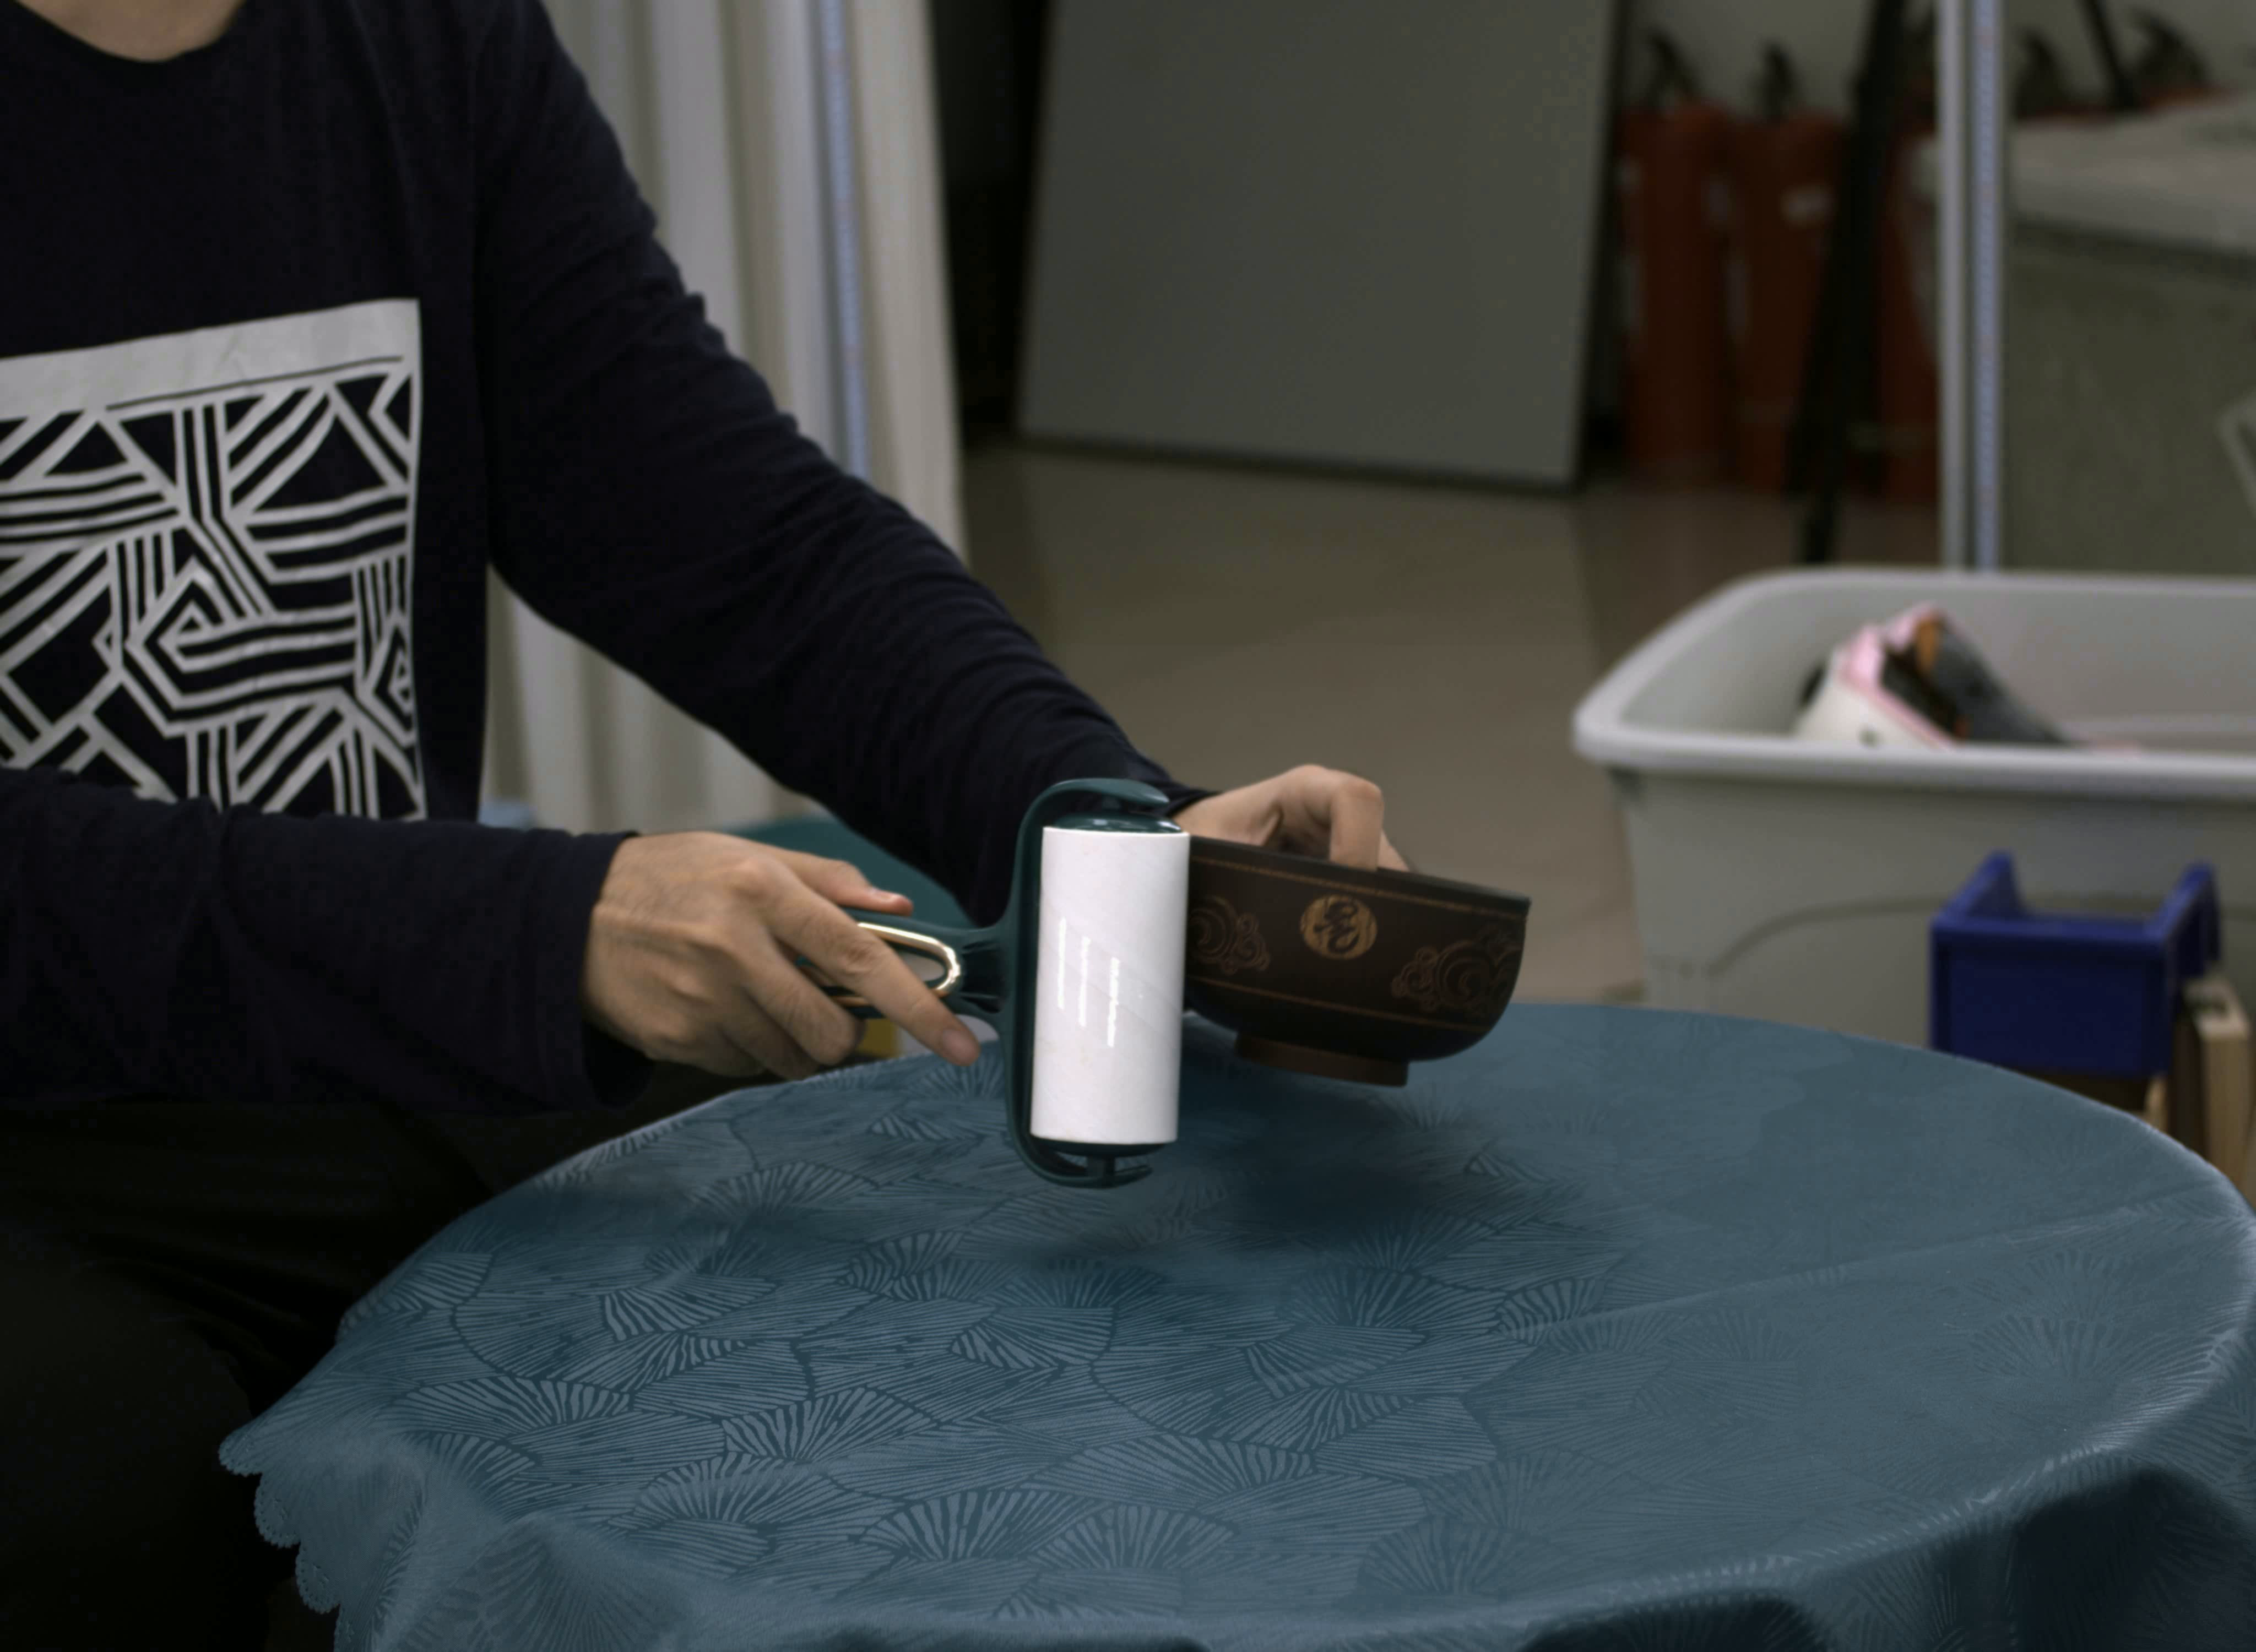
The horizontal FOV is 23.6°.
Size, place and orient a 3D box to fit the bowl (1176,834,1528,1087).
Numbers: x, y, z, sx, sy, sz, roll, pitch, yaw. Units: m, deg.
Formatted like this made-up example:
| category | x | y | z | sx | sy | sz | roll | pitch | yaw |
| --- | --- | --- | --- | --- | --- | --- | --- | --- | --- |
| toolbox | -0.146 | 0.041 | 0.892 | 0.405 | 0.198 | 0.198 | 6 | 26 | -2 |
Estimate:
| category | x | y | z | sx | sy | sz | roll | pitch | yaw |
| --- | --- | --- | --- | --- | --- | --- | --- | --- | --- |
| bowl | 0.068 | 0.045 | 1.738 | 0.116 | 0.071 | 0.118 | 8 | 1 | -1 |

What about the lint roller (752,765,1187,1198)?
| category | x | y | z | sx | sy | sz | roll | pitch | yaw |
| --- | --- | --- | --- | --- | --- | --- | --- | --- | --- |
| lint roller | -0.062 | 0.049 | 1.738 | 0.181 | 0.136 | 0.047 | 1 | -4 | 35 |
